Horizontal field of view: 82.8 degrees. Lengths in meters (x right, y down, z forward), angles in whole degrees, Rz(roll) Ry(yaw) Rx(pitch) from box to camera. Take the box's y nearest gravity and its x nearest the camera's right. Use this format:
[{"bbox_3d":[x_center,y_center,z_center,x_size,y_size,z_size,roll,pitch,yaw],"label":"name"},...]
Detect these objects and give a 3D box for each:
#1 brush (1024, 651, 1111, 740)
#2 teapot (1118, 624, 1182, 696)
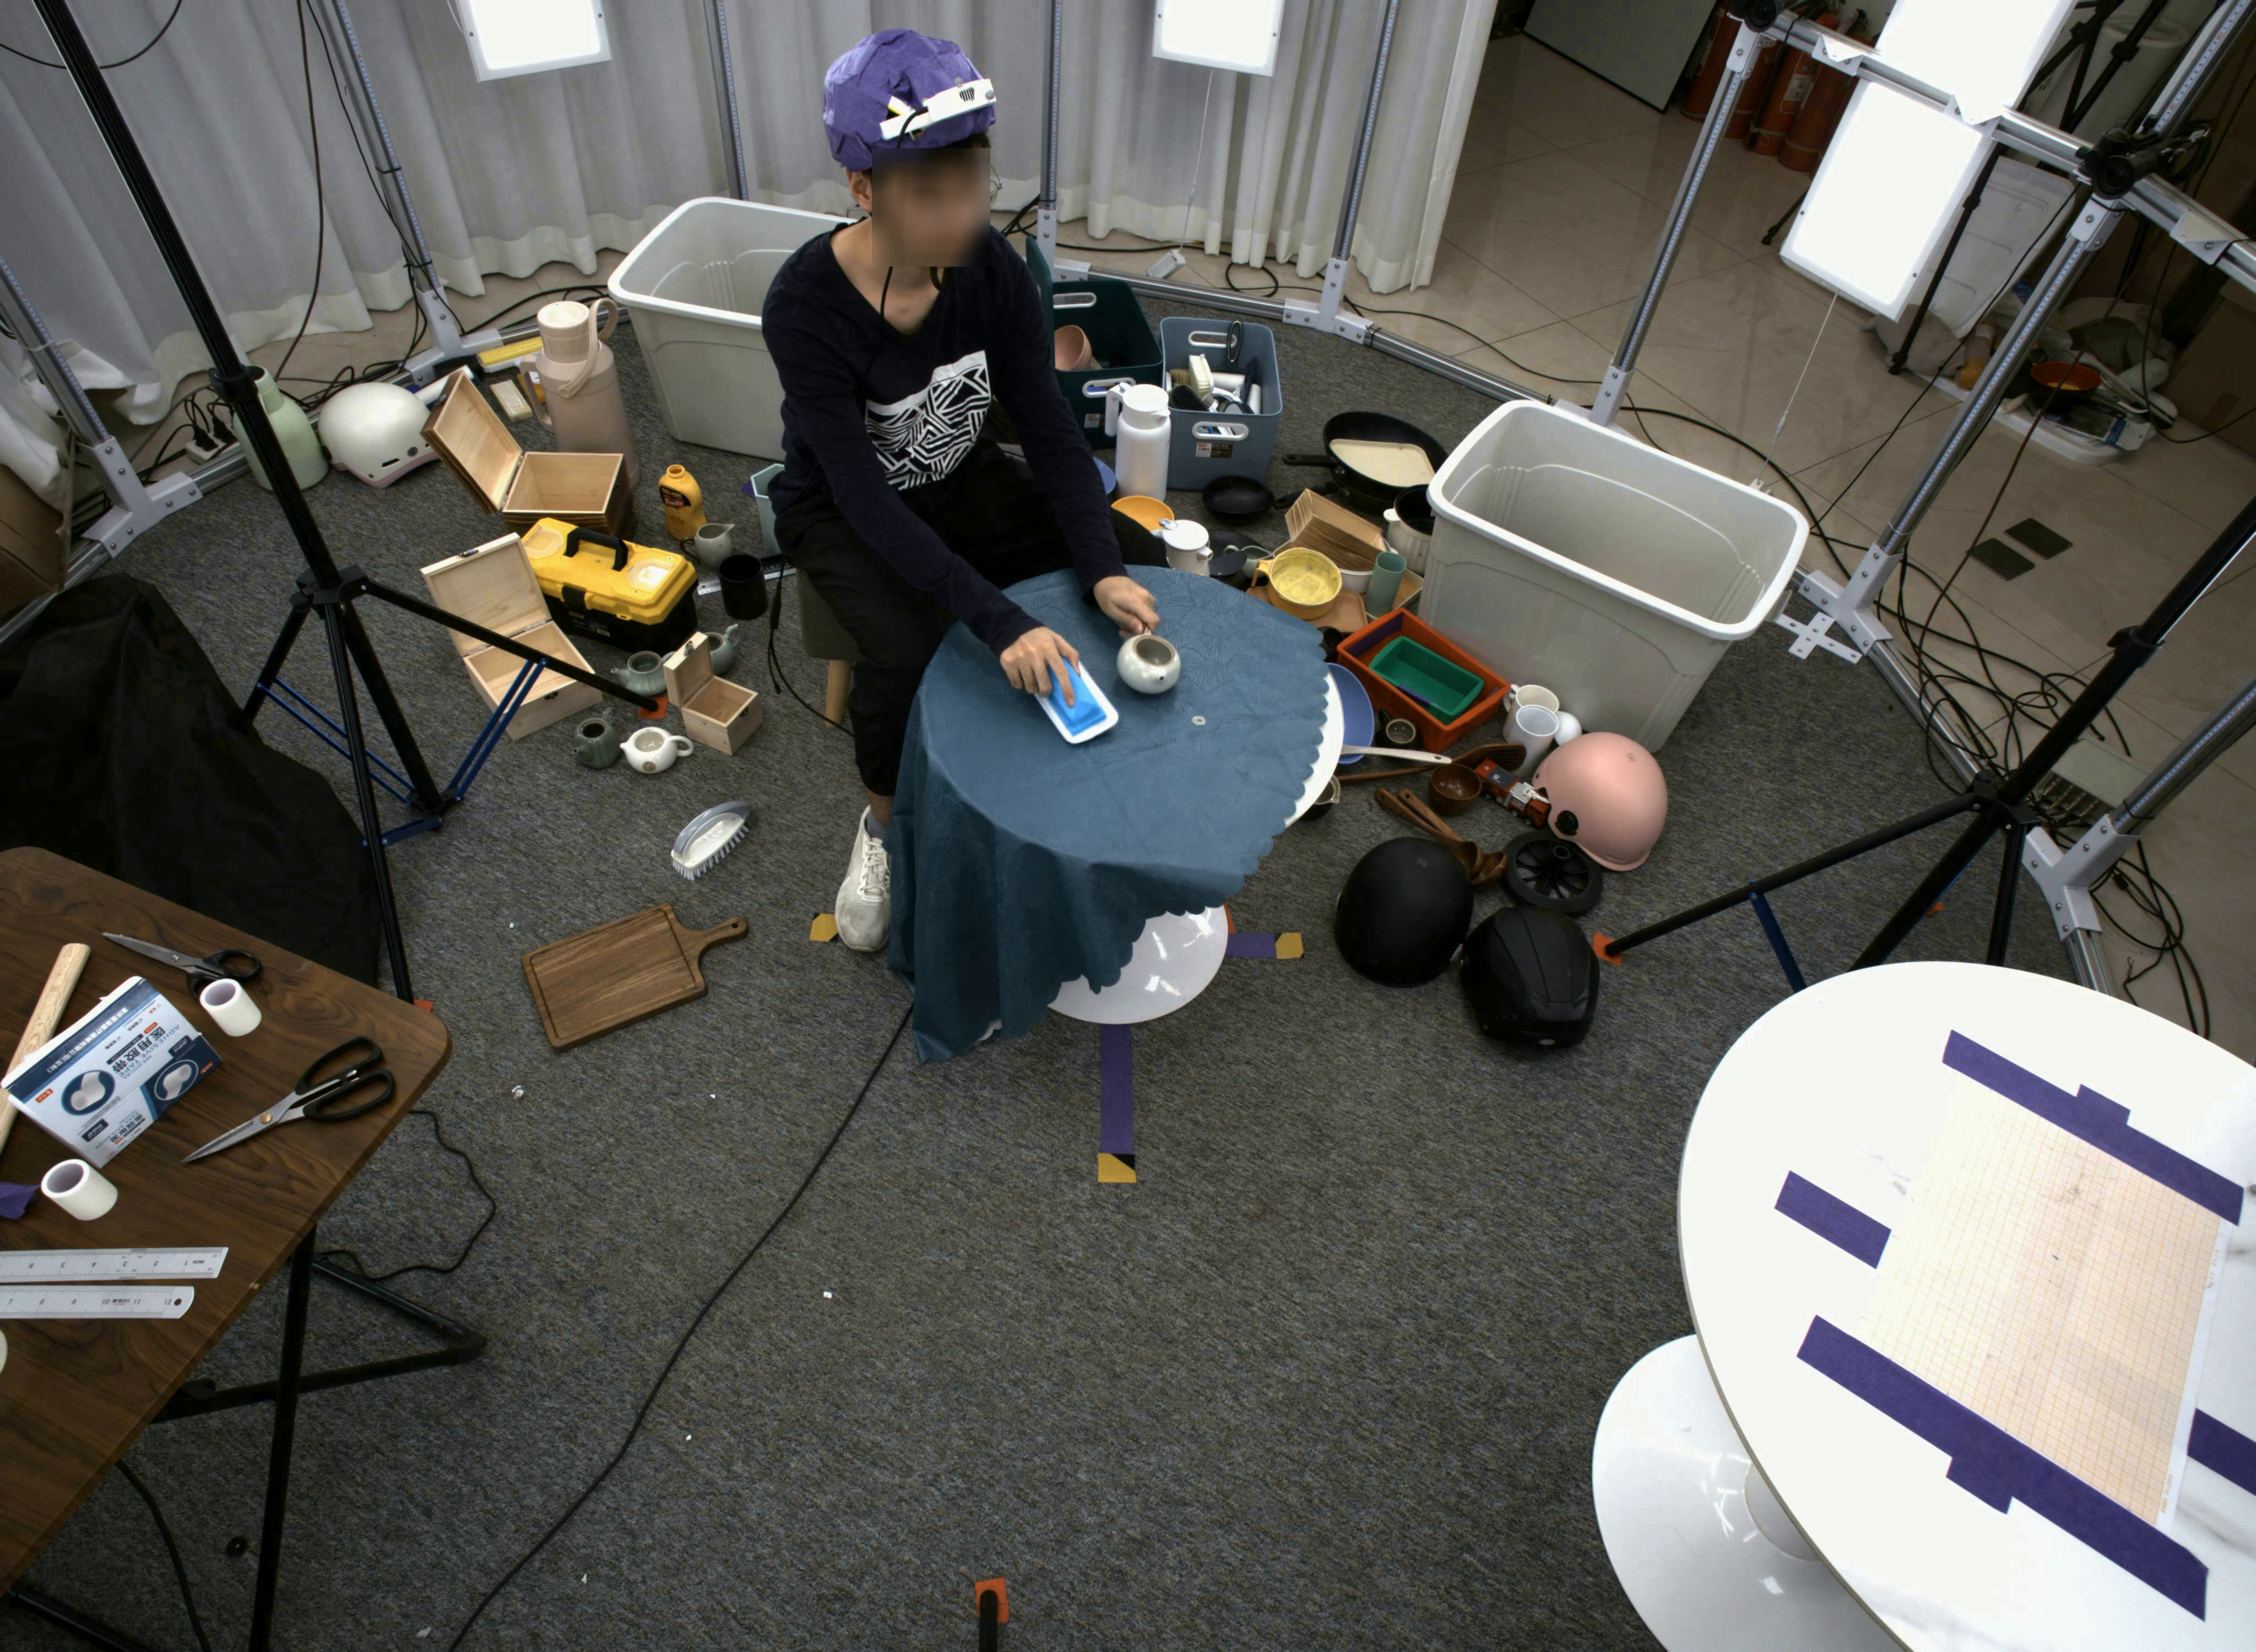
[{"bbox_3d":[-0.084,-0.189,1.779,0.084,0.054,0.147,-22,58,-12],"label":"brush"},{"bbox_3d":[0.028,-0.235,1.831,0.092,0.058,0.131,-6,53,-14],"label":"teapot"}]
